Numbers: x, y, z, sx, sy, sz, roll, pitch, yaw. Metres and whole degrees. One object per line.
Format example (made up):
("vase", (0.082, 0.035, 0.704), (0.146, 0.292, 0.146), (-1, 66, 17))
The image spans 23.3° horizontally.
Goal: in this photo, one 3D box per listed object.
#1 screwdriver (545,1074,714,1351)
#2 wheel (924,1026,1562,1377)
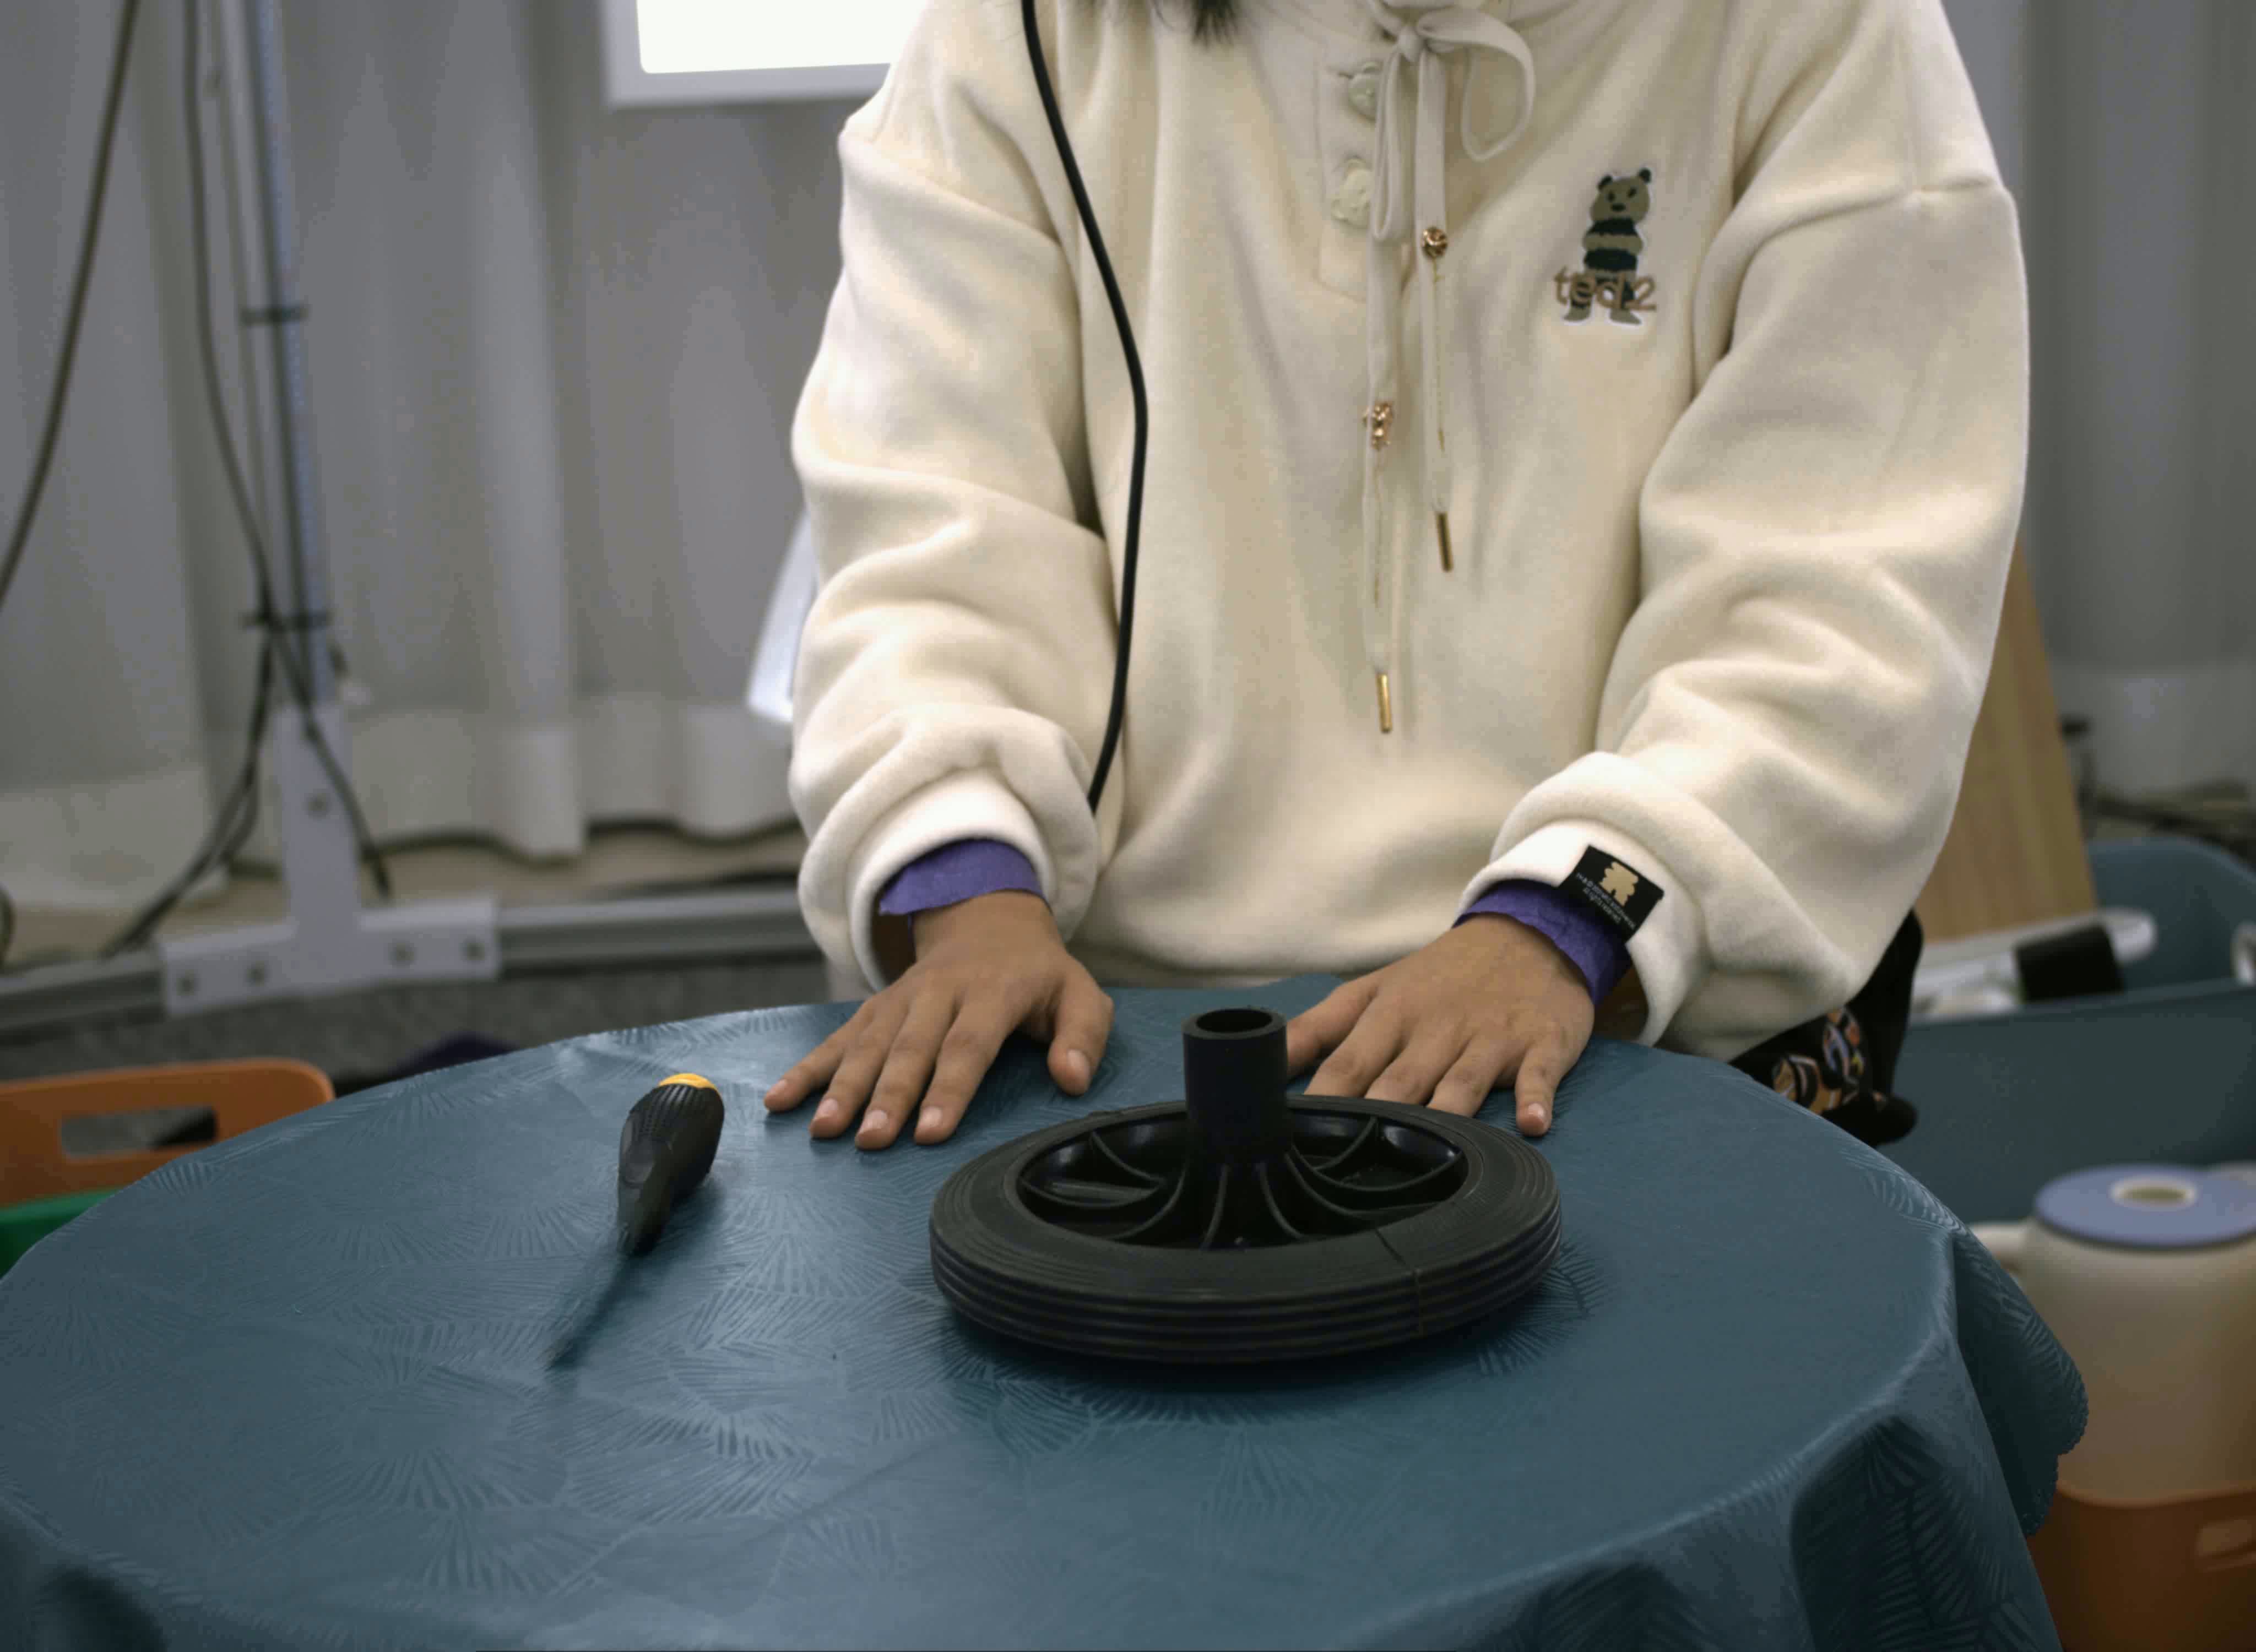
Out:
("screwdriver", (-0.158, 0.120, 1.679), (0.031, 0.031, 0.199), (0, 18, 10))
("wheel", (0.032, 0.101, 1.615), (0.189, 0.079, 0.188), (-4, 15, 7))
